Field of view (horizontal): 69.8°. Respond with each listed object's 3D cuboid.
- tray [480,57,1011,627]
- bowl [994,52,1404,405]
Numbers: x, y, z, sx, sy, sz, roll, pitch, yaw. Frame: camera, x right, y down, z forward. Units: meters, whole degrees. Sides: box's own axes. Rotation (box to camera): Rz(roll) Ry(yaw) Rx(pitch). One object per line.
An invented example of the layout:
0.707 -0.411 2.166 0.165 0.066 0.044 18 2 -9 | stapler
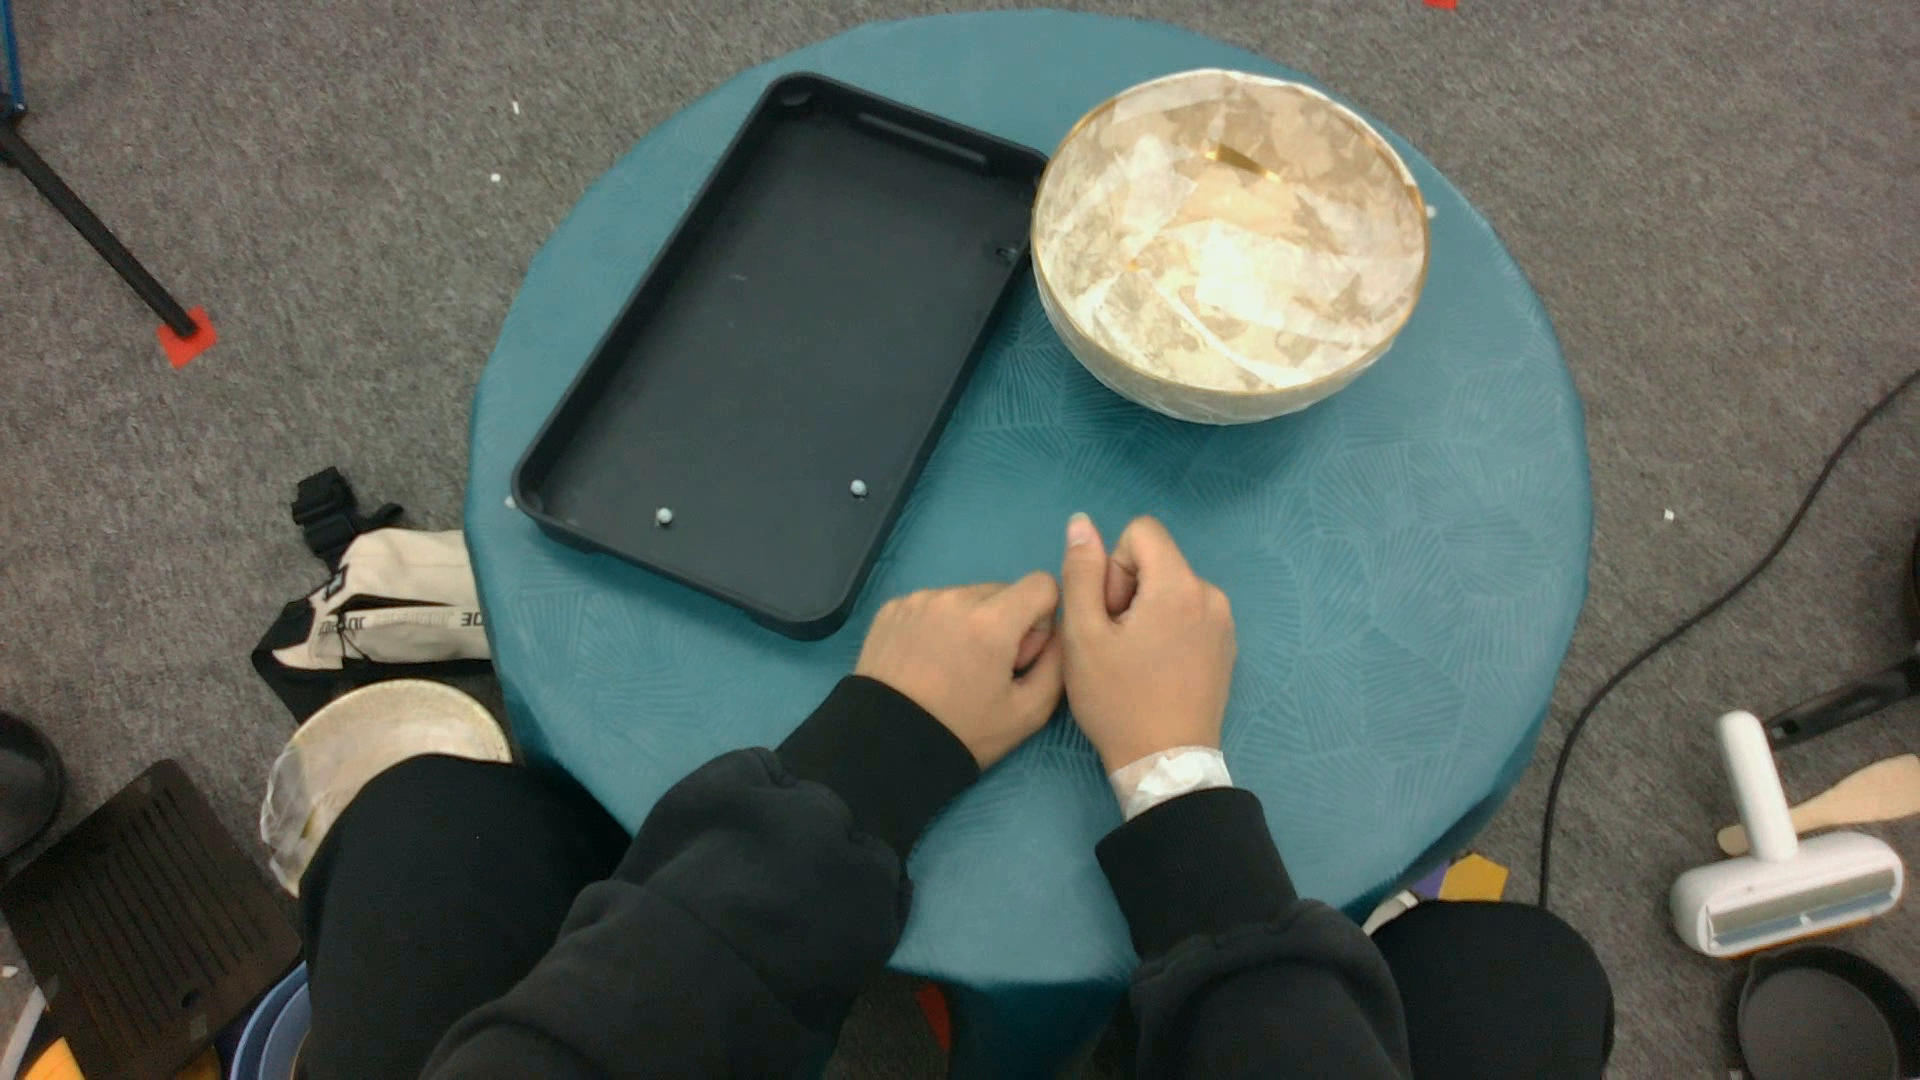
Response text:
-0.099 -0.118 0.744 0.184 0.037 0.319 23 65 8 | tray
0.117 -0.149 0.733 0.215 0.094 0.215 1 65 -3 | bowl
